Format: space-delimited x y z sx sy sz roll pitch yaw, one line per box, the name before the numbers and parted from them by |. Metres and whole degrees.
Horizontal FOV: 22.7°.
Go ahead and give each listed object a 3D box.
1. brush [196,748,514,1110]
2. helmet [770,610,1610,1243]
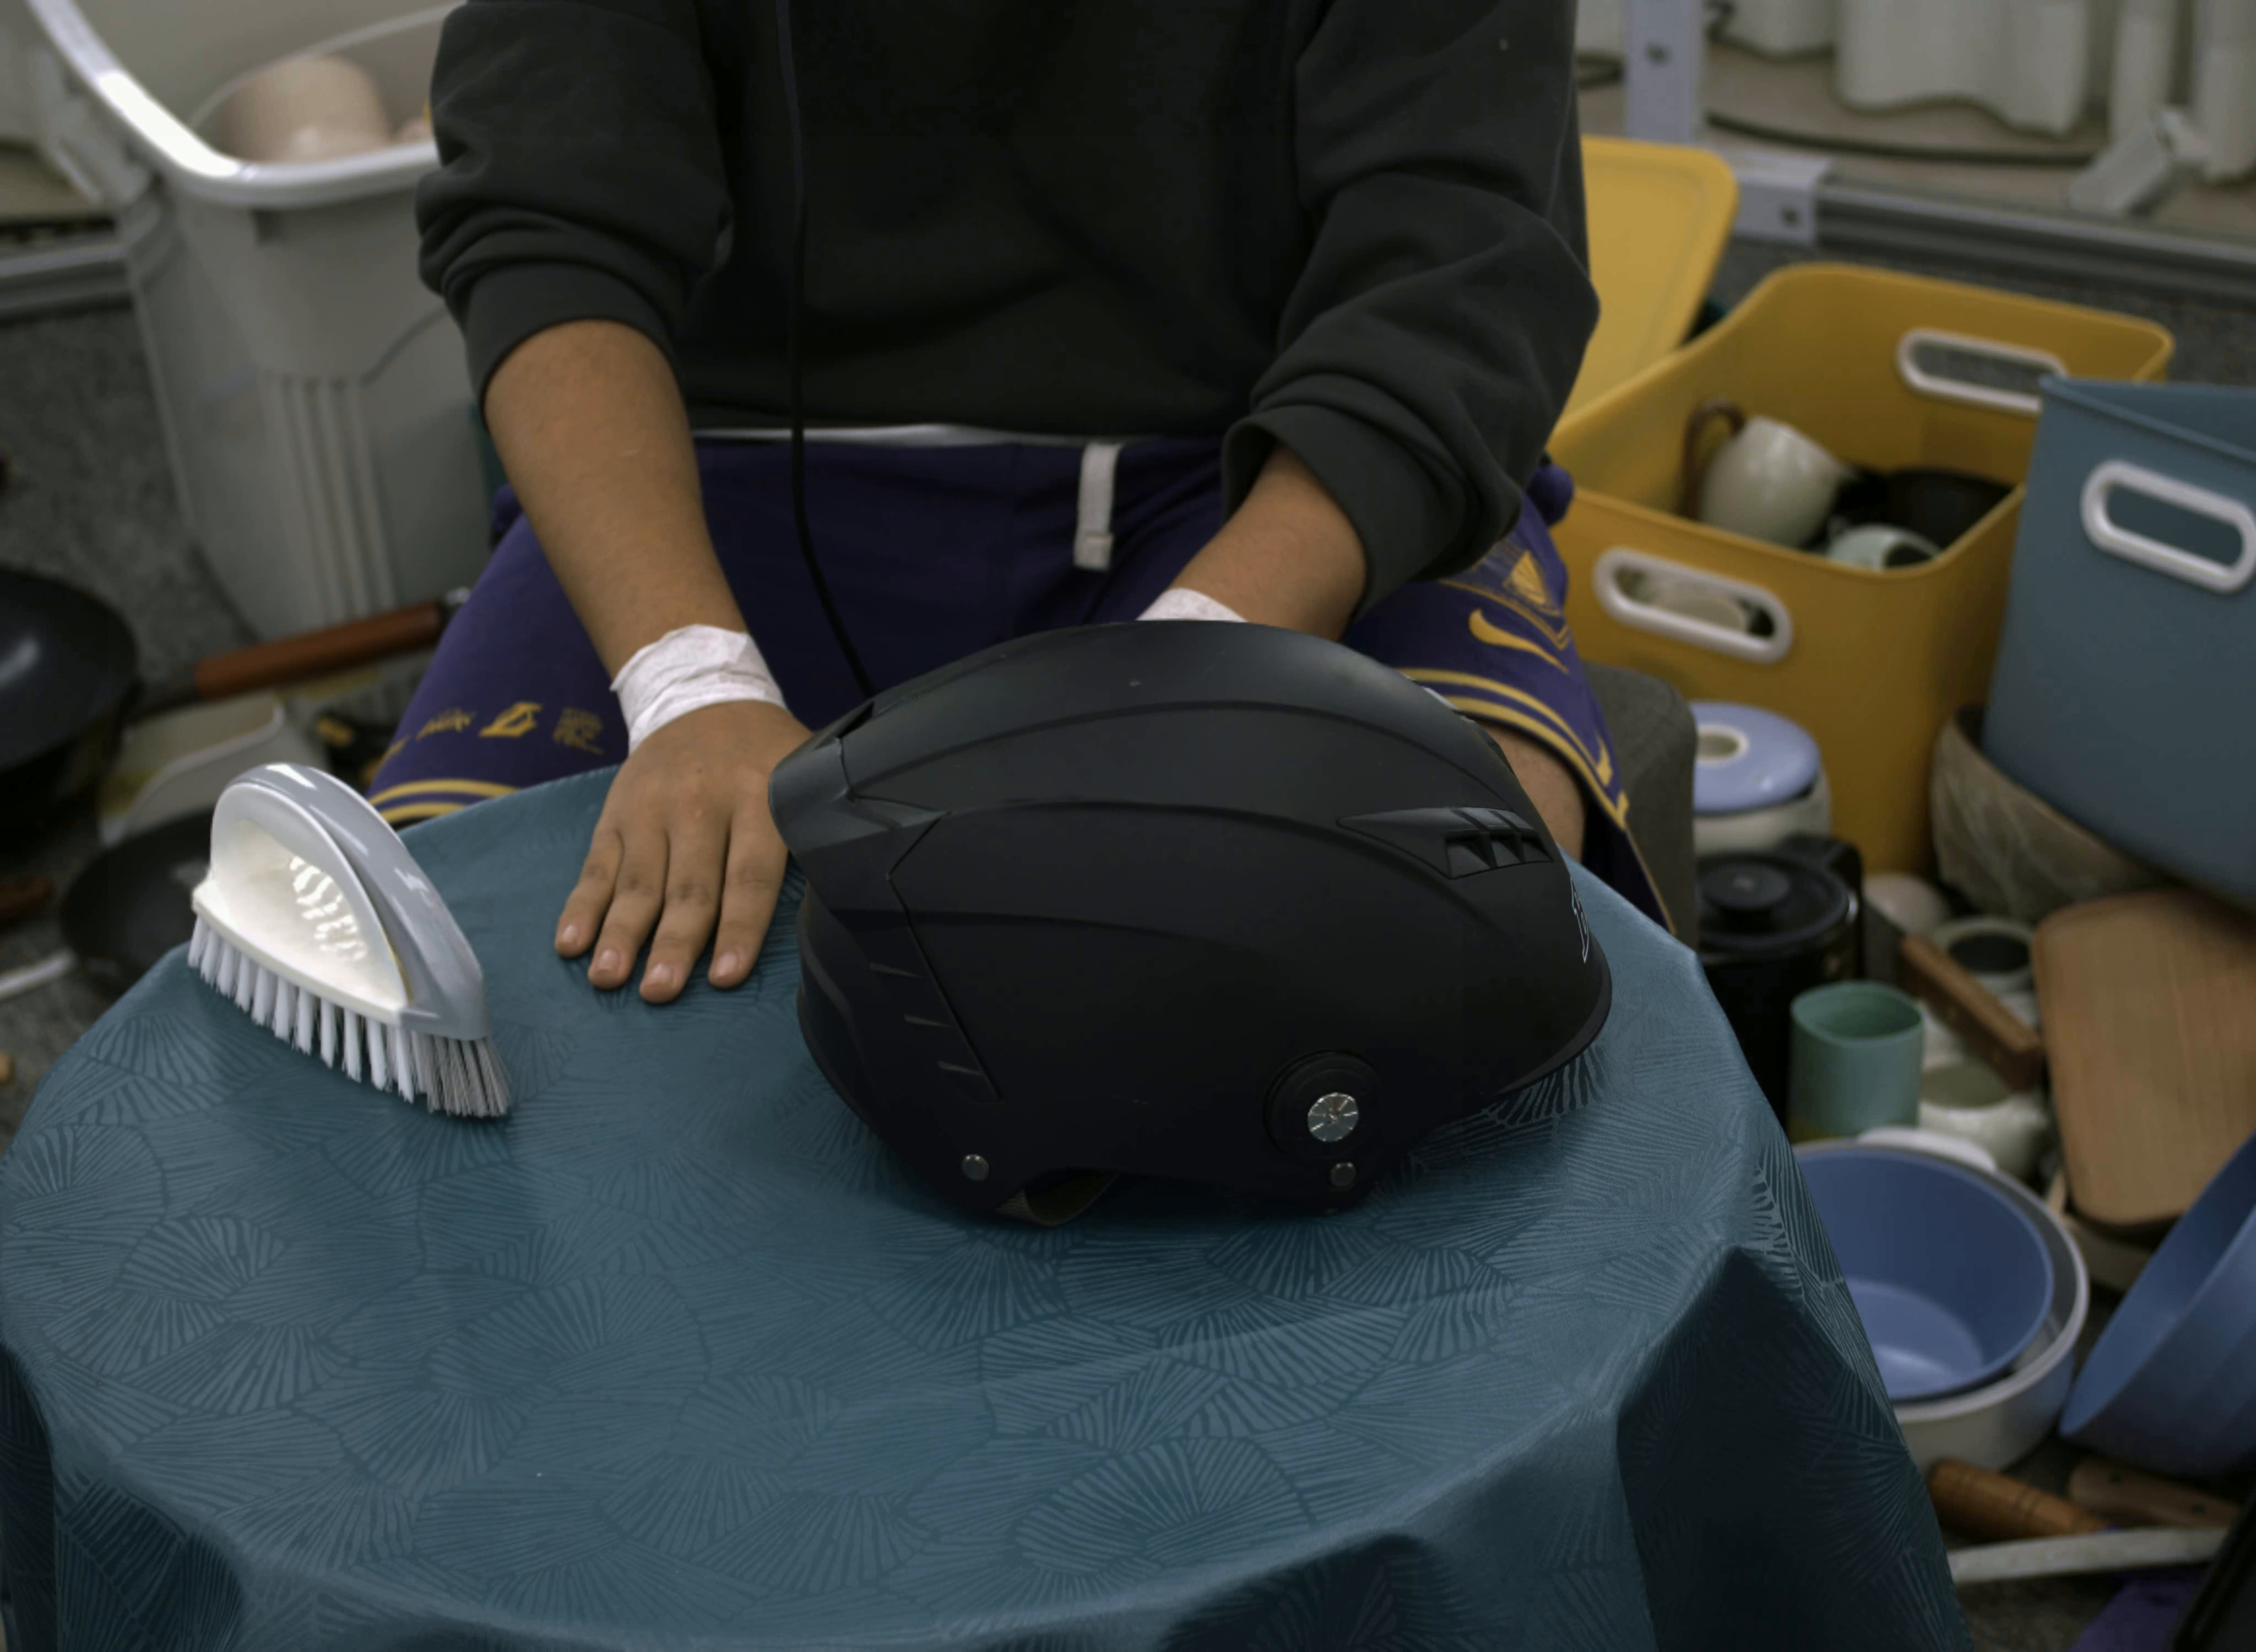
brush | -0.268 0.031 1.965 0.062 0.093 0.176 -24 36 -29
helmet | 0.020 0.015 1.896 0.276 0.170 0.250 -8 28 -2
